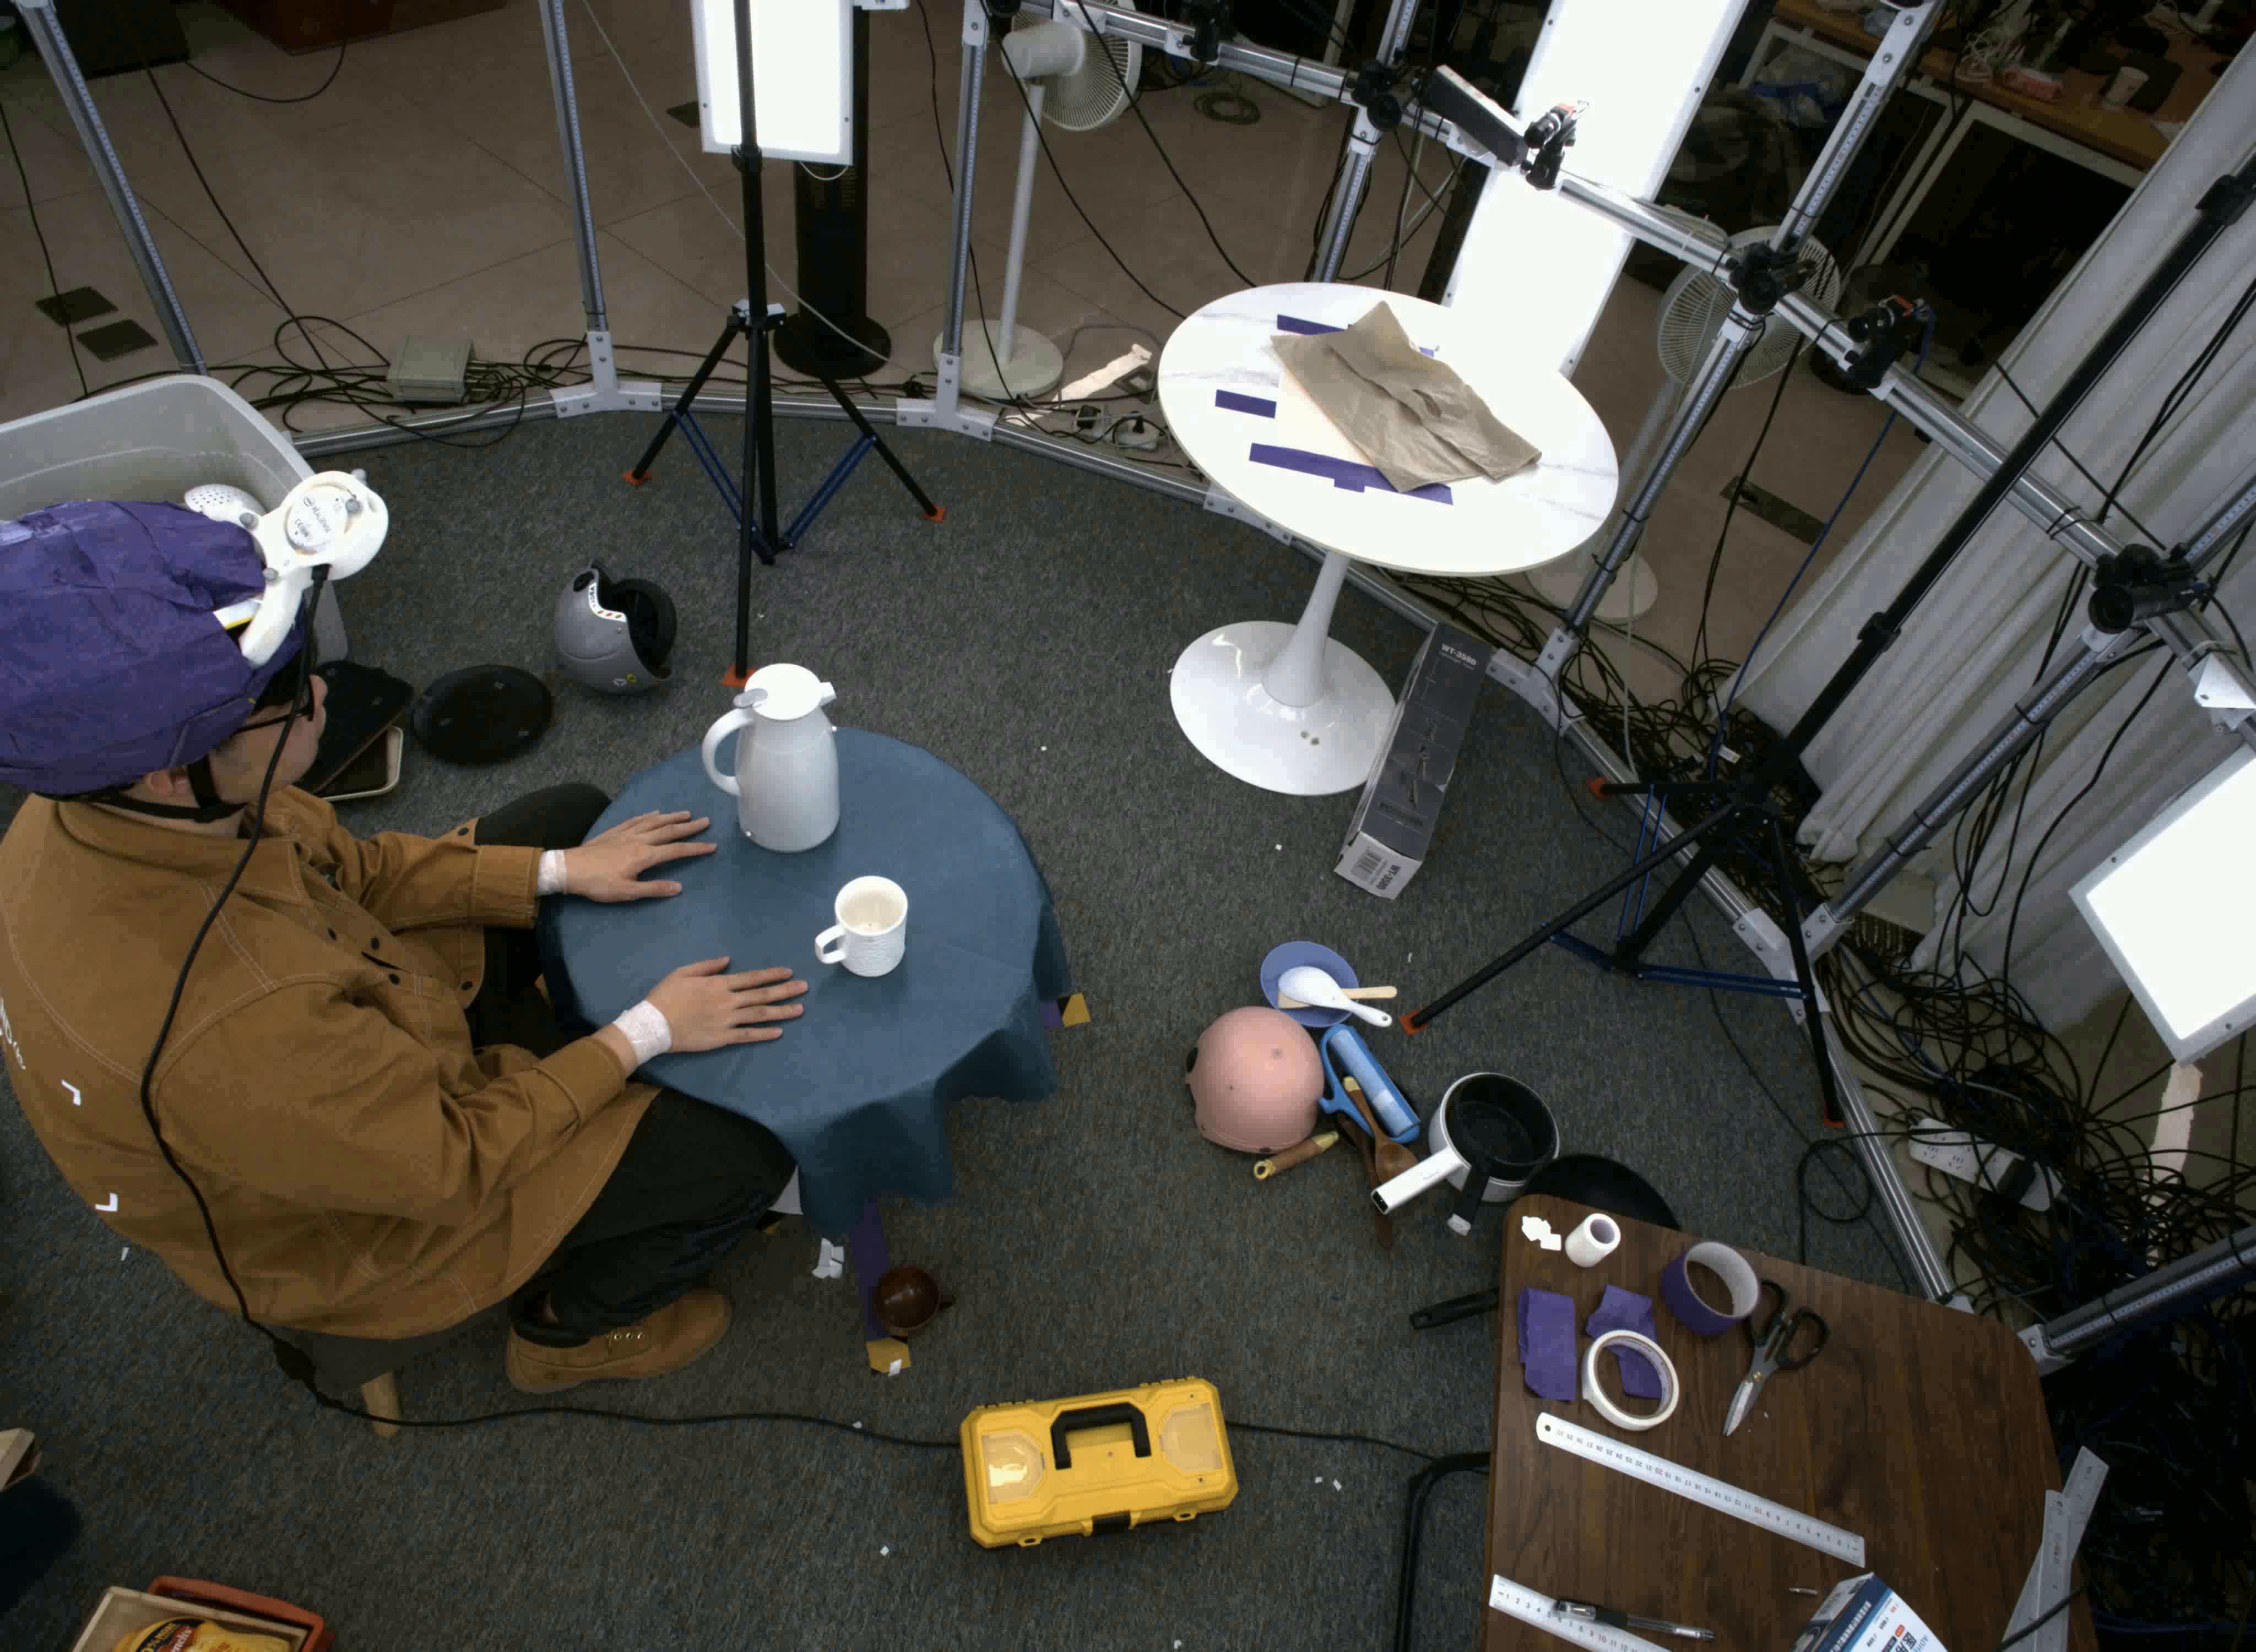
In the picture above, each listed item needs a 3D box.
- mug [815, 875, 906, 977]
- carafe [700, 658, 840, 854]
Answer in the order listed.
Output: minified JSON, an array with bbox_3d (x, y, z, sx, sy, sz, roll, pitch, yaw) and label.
[{"bbox_3d":[-0.327,0.130,1.584,0.118,0.104,0.083,-31,63,-30],"label":"mug"},{"bbox_3d":[-0.448,-0.087,1.620,0.168,0.254,0.129,-19,59,-24],"label":"carafe"}]
